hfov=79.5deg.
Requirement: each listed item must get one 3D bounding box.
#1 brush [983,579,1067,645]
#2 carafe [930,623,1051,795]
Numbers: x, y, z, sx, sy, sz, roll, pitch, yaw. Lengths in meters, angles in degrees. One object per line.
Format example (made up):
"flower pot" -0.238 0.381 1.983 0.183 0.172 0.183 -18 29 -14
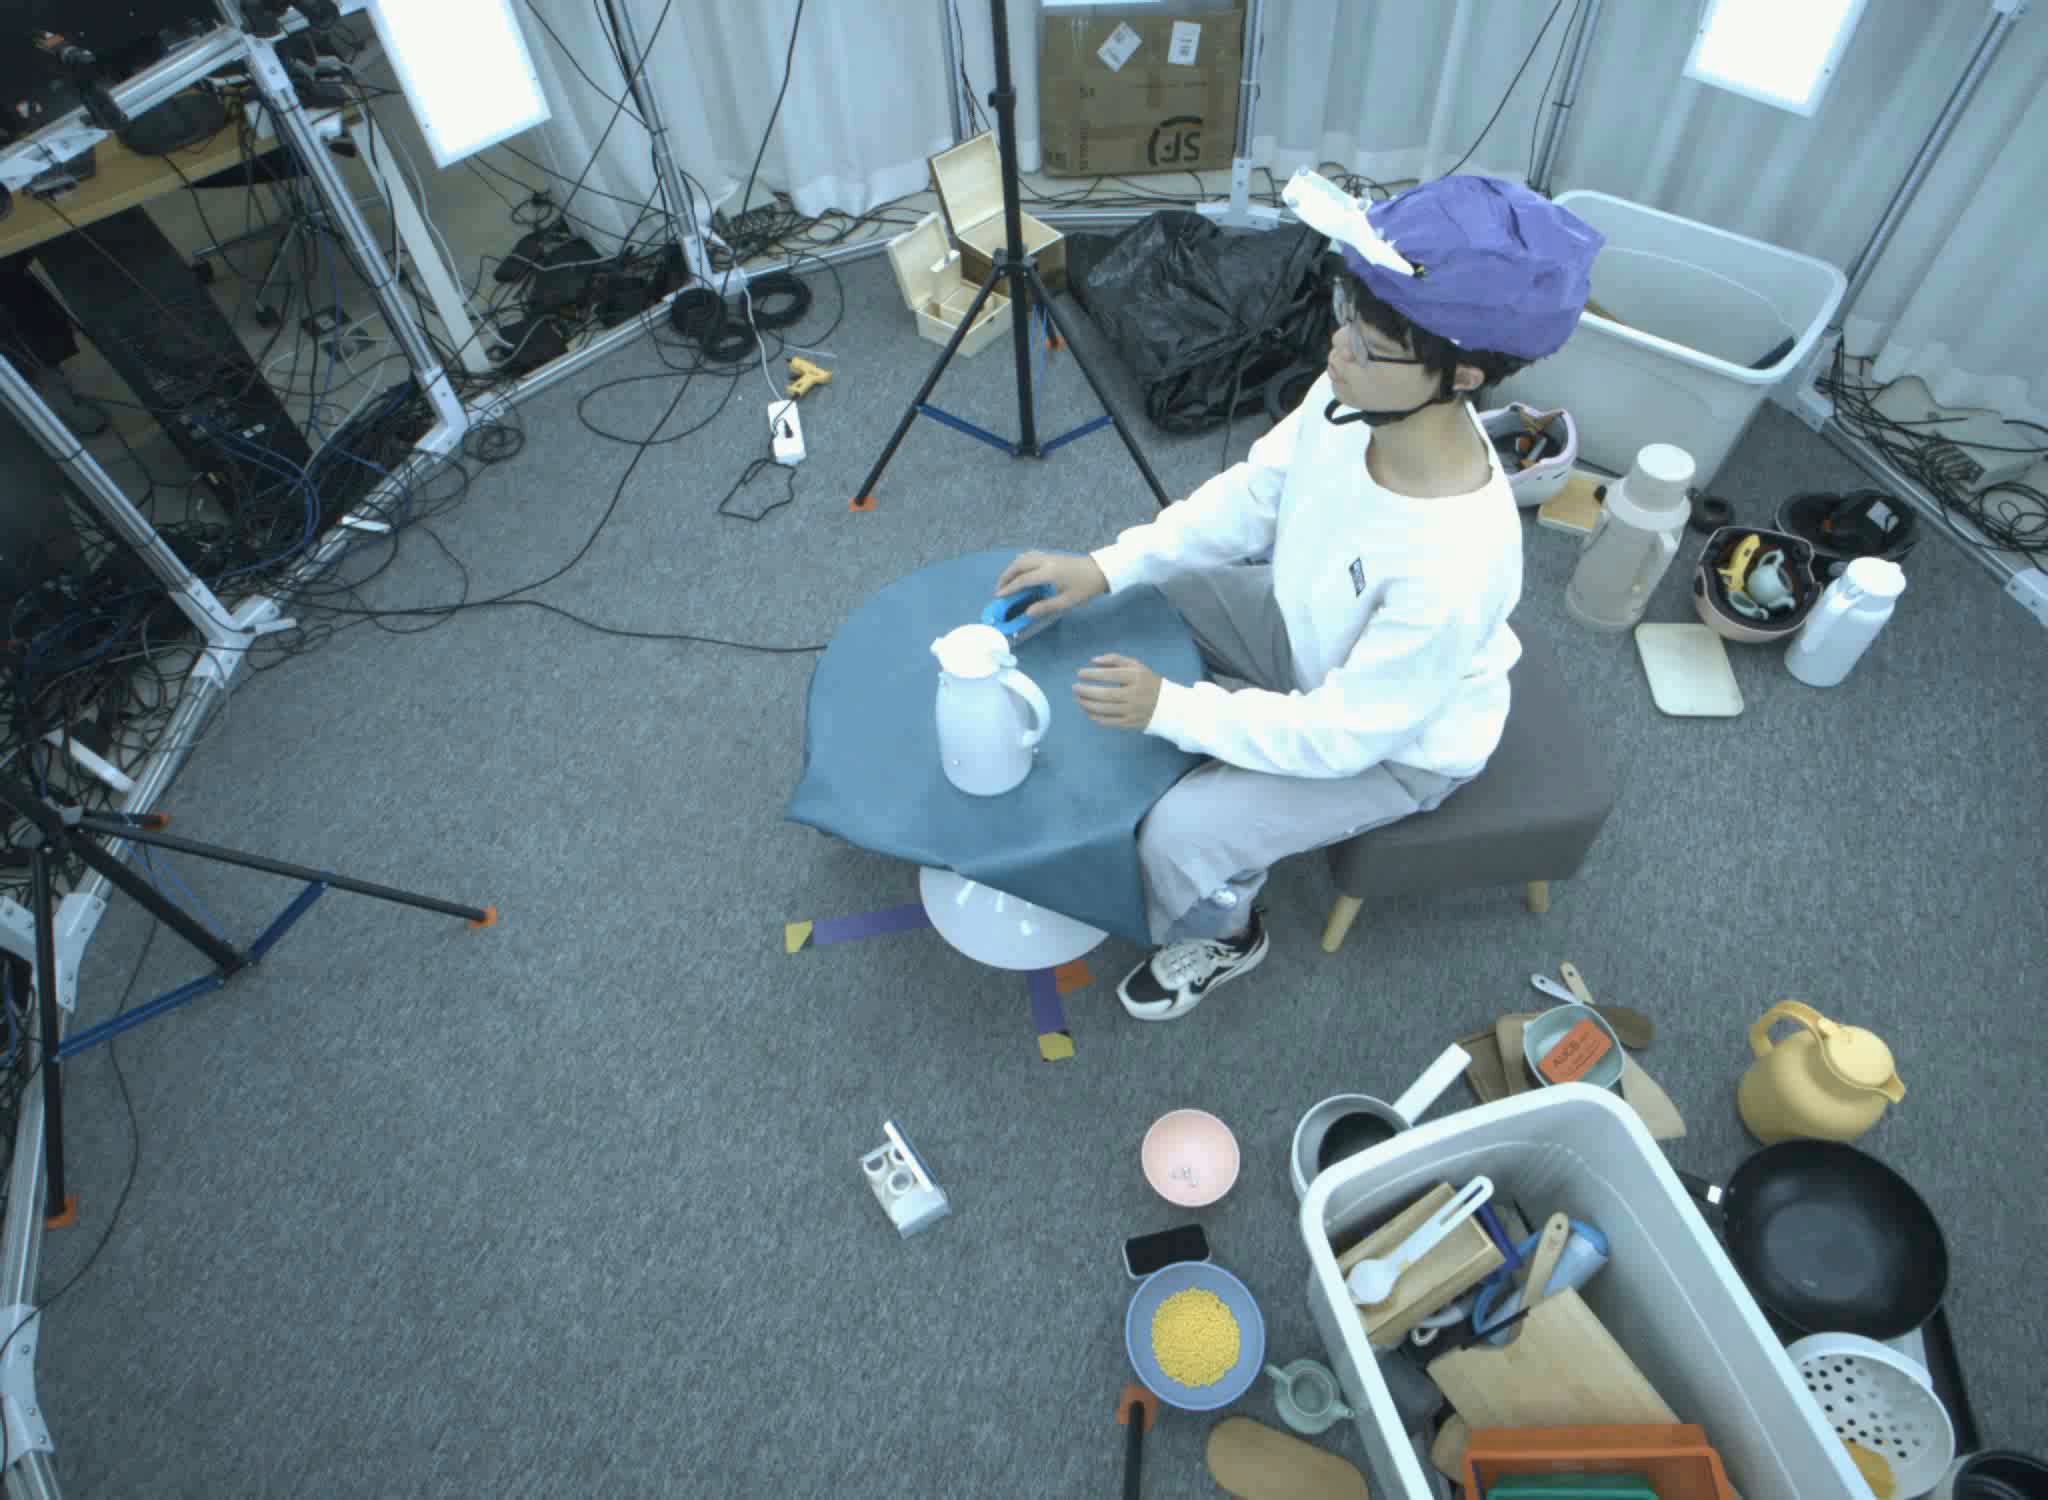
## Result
"brush" -0.002 -0.225 1.904 0.143 0.064 0.082 -31 54 -18
"carafe" -0.041 -0.056 1.671 0.166 0.251 0.132 20 58 16
